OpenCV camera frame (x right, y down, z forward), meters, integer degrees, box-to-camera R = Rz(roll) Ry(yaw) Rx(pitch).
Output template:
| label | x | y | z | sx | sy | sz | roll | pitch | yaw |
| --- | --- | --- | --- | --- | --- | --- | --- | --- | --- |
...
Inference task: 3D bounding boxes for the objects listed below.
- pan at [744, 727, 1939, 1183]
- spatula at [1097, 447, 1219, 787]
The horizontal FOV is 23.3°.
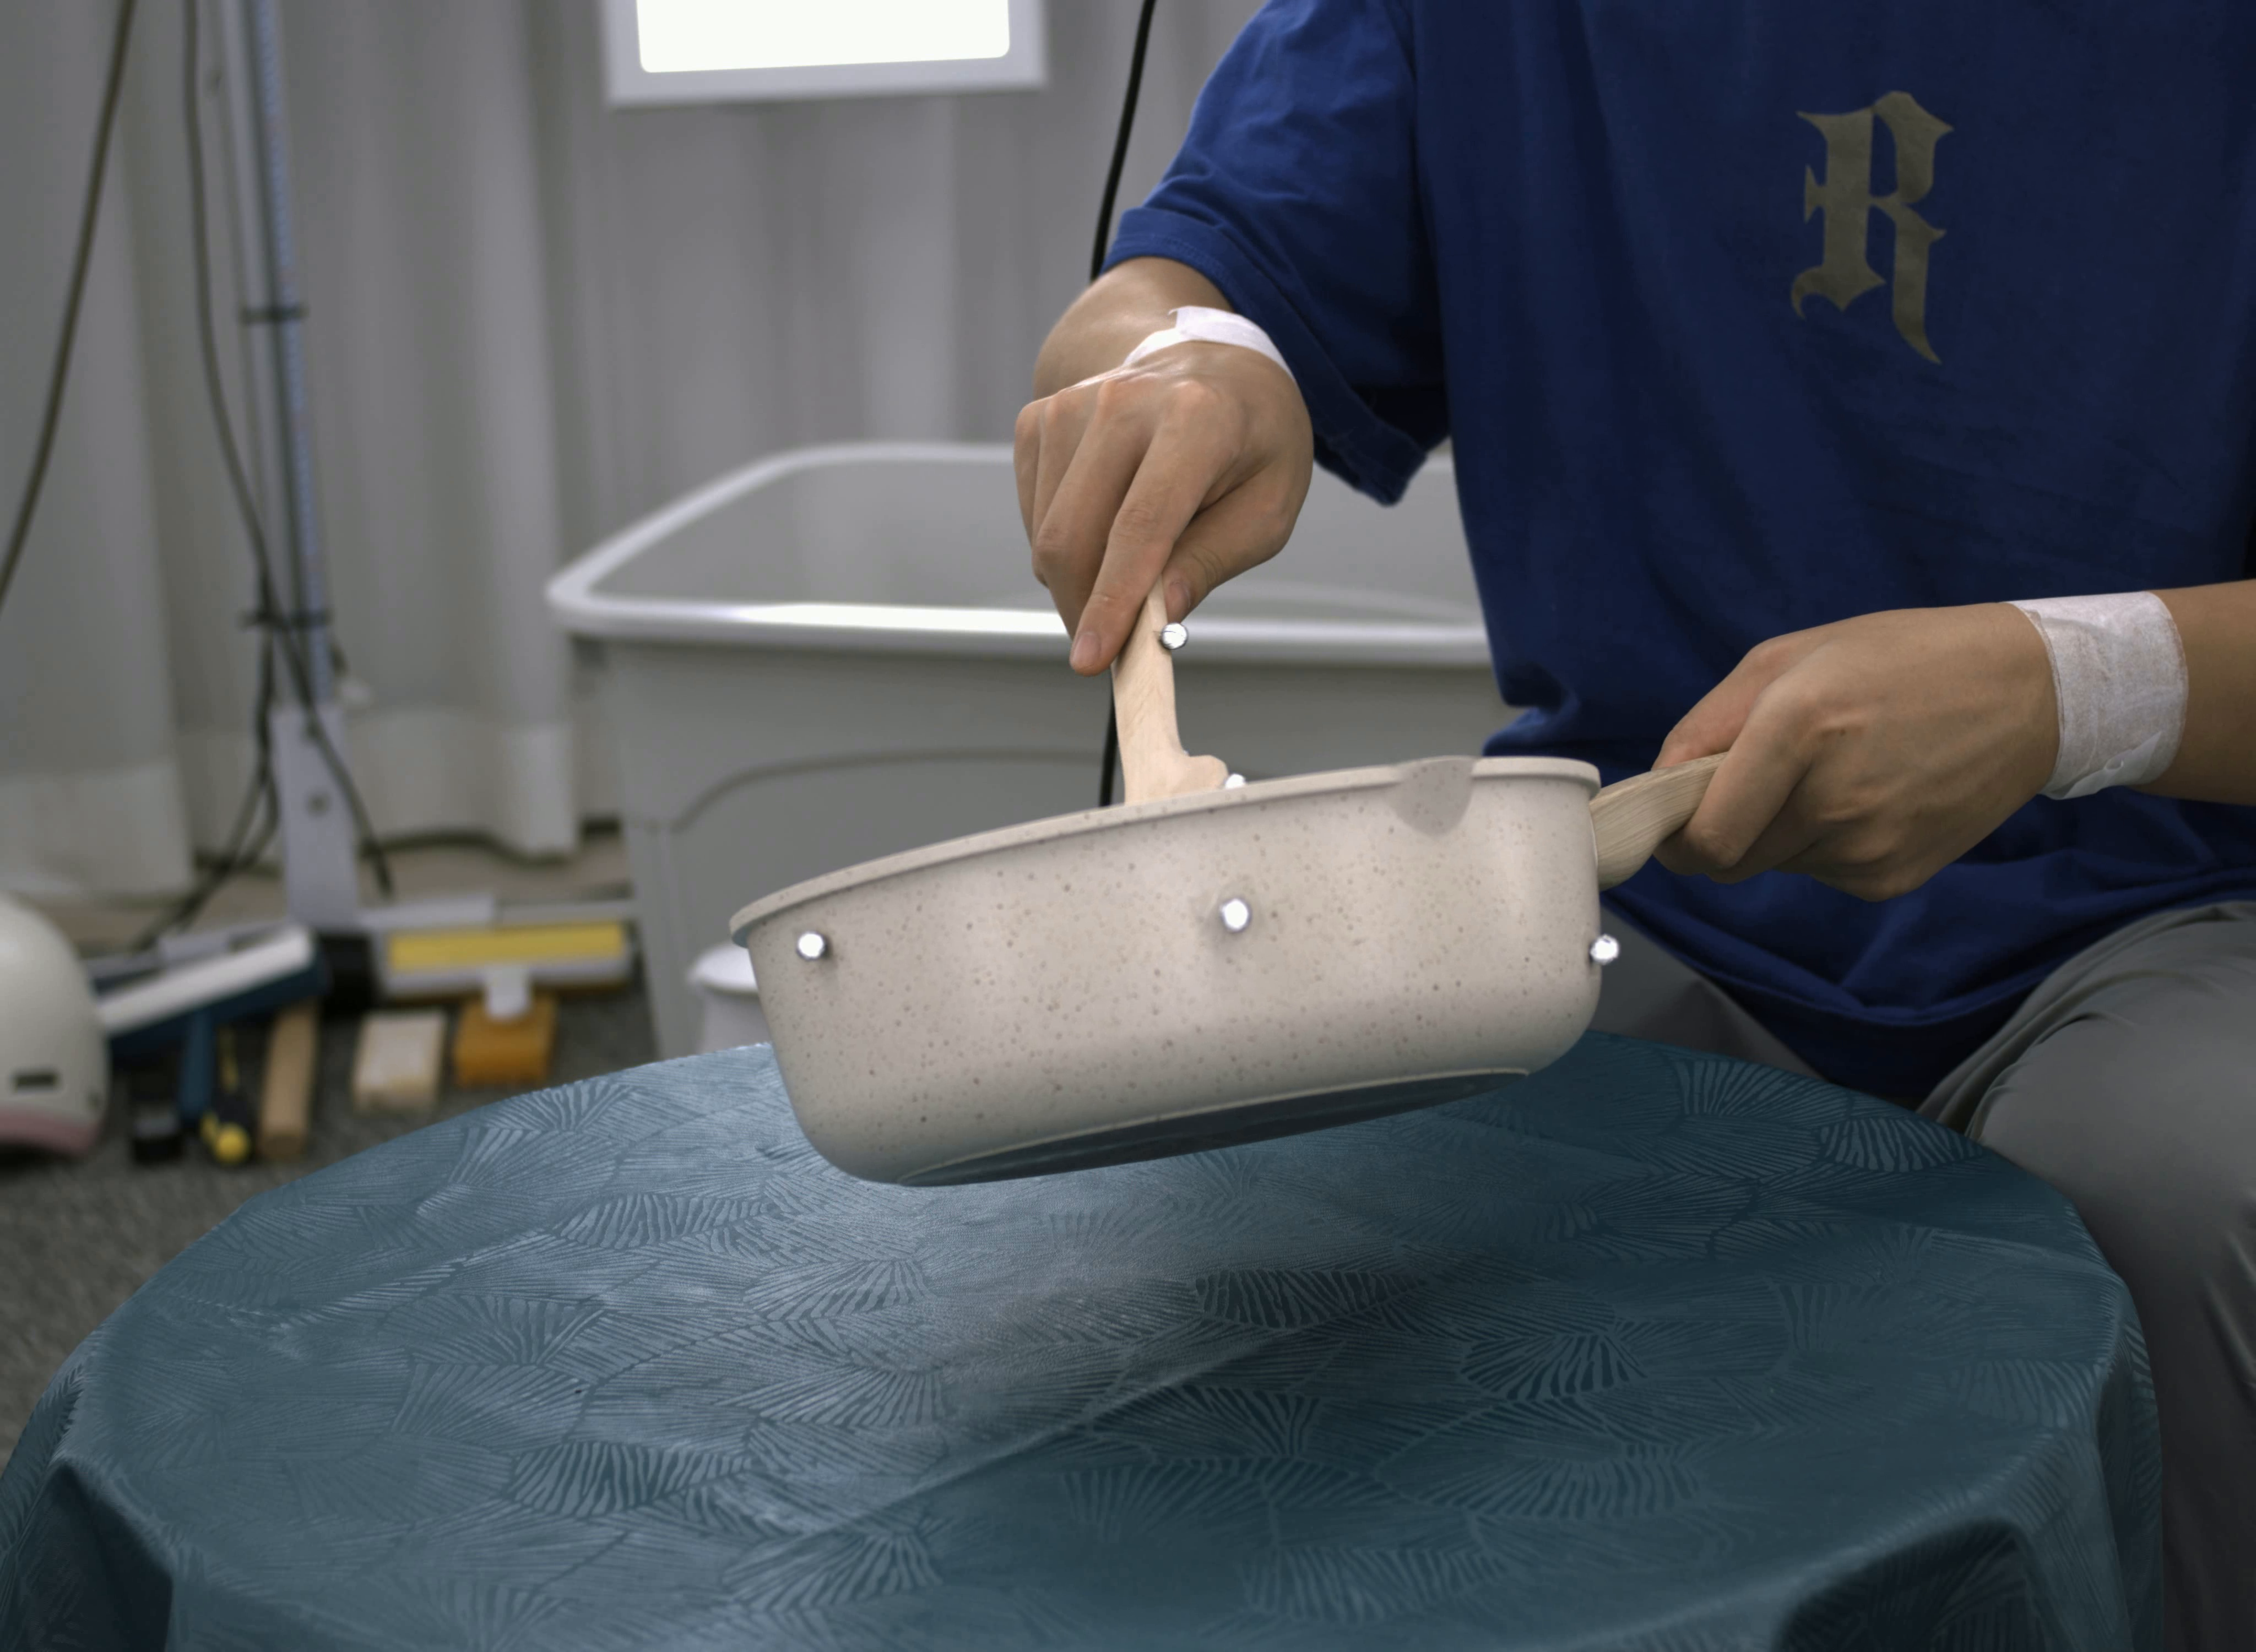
| label | x | y | z | sx | sy | sz | roll | pitch | yaw |
| --- | --- | --- | --- | --- | --- | --- | --- | --- | --- |
| pan | 0.092 | 0.030 | 1.601 | 0.432 | 0.103 | 0.263 | -4 | -11 | -38 |
| spatula | 0.005 | -0.034 | 1.668 | 0.010 | 0.072 | 0.297 | 23 | 30 | -18 |
